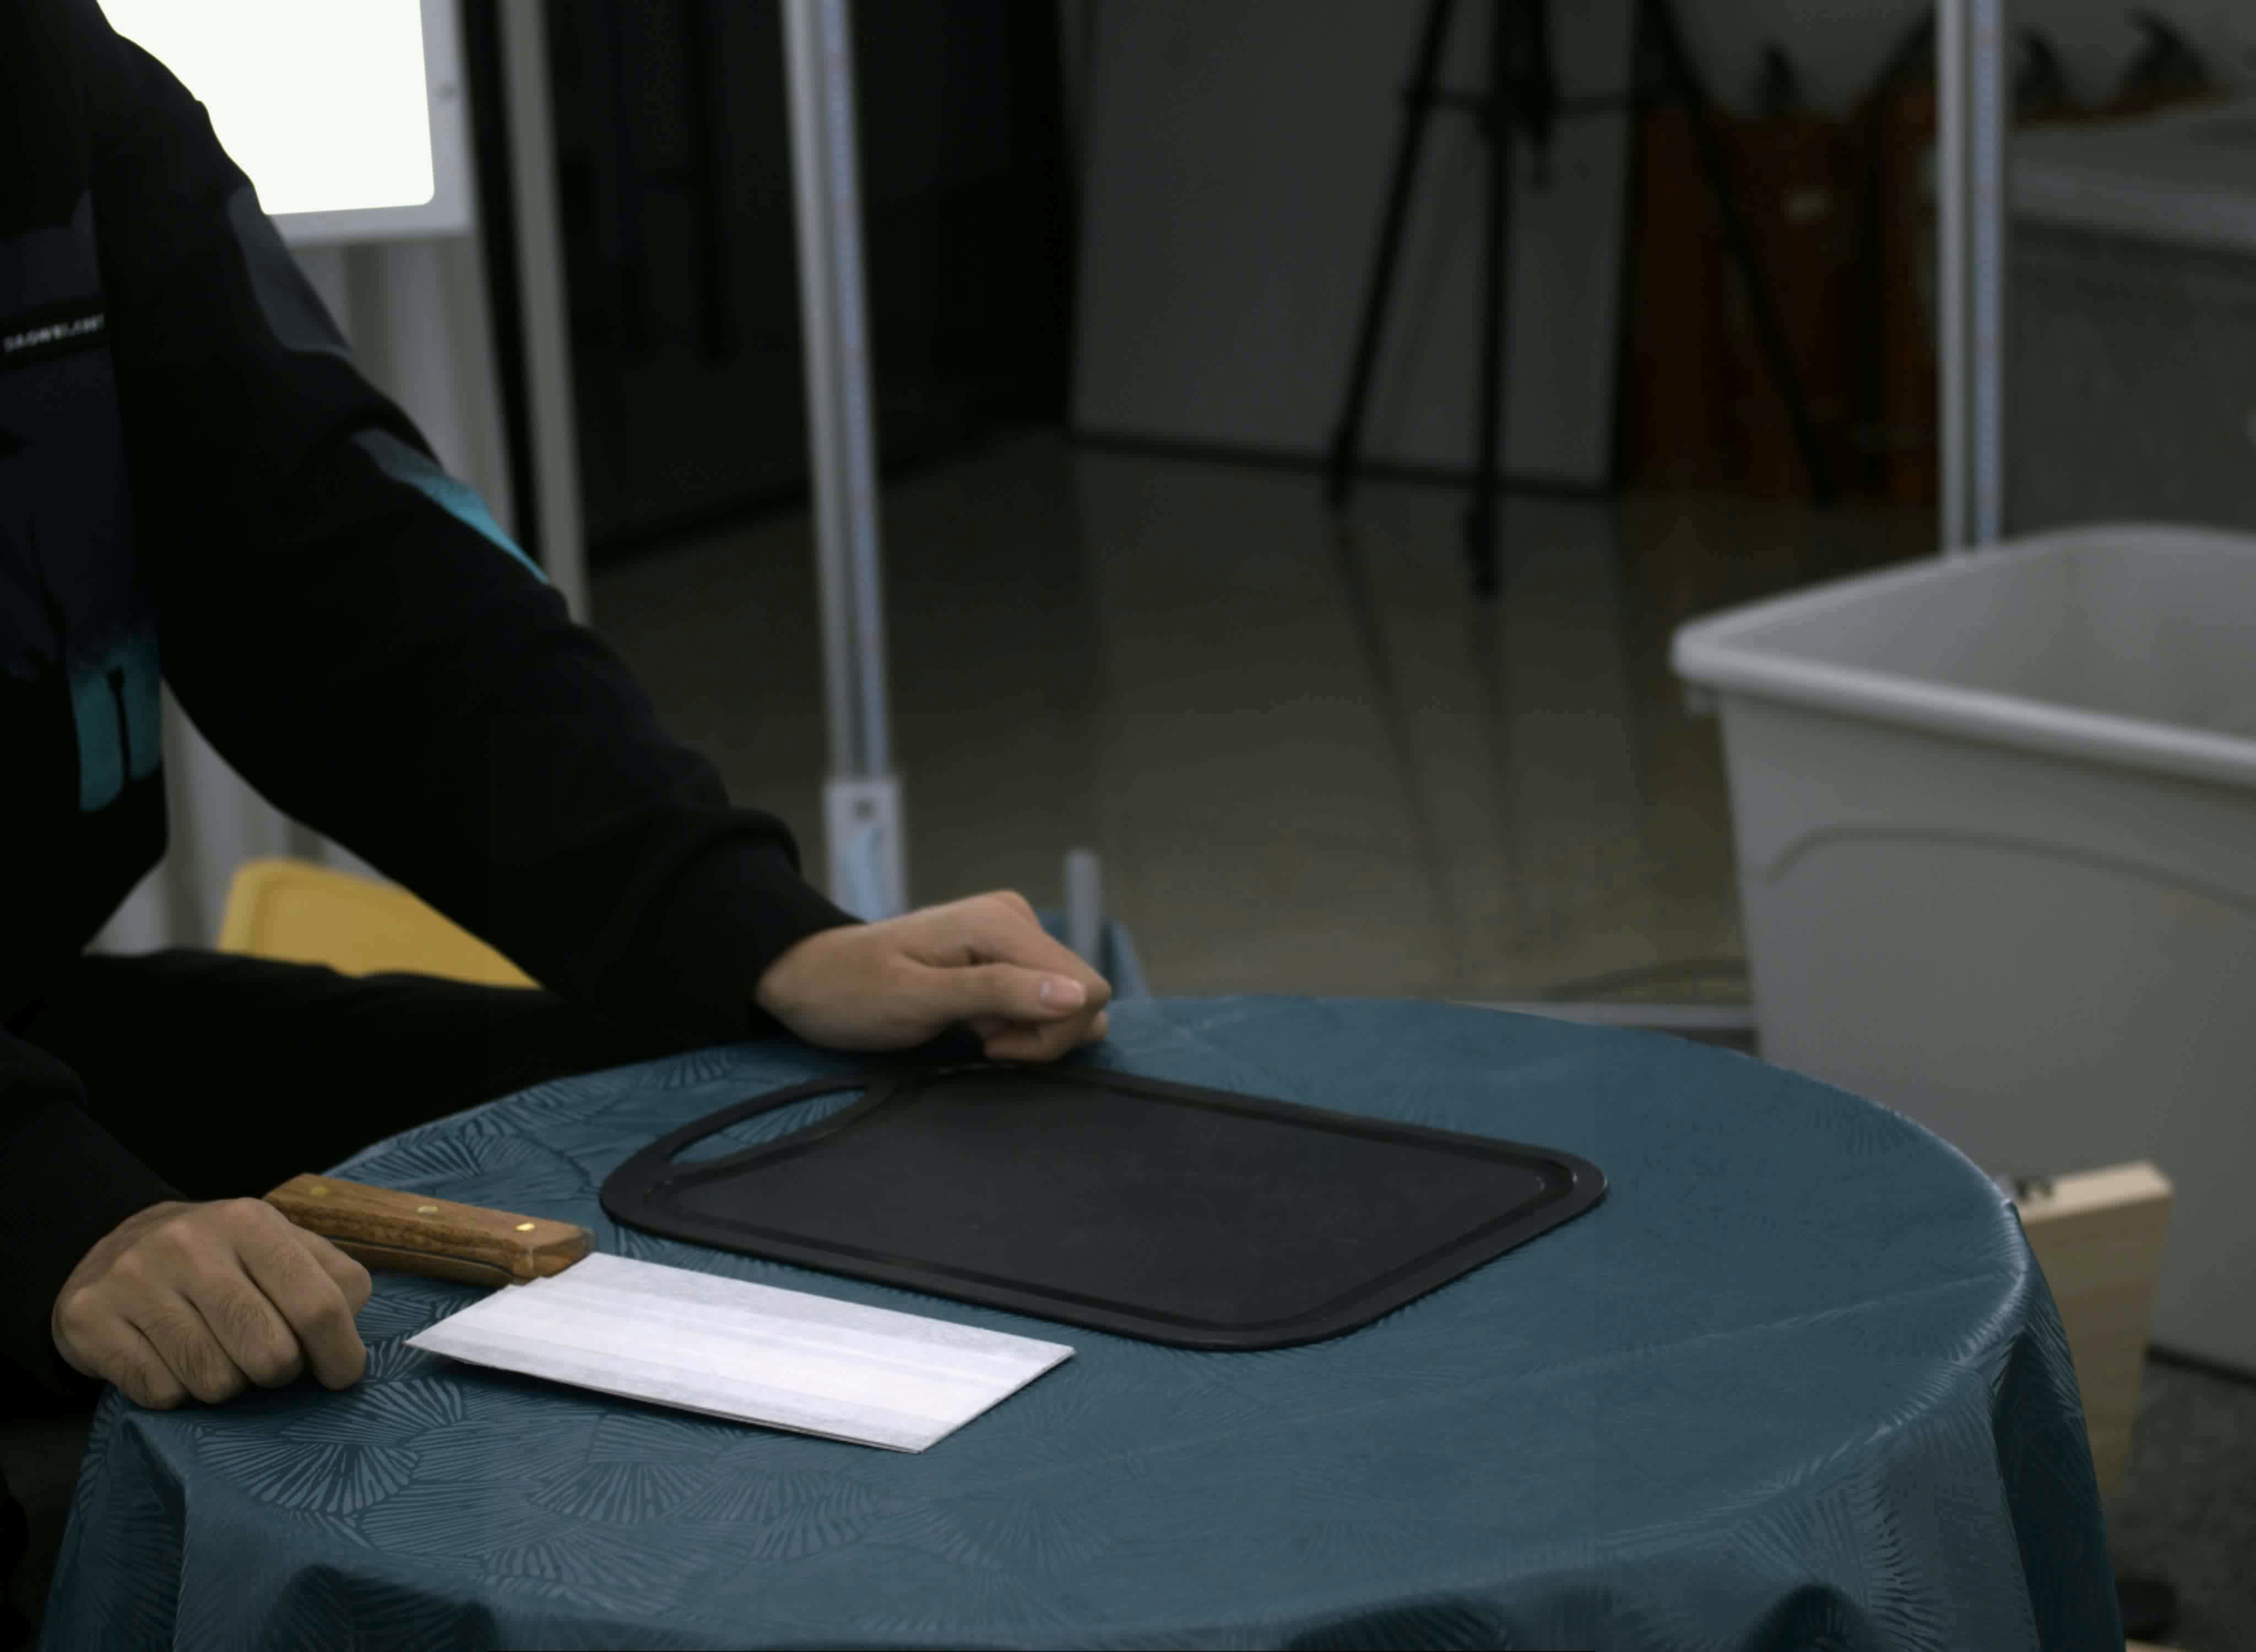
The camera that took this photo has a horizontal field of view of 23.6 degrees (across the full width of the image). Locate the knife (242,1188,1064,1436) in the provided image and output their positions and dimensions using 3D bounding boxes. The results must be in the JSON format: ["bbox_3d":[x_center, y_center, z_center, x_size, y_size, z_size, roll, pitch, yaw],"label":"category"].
[{"bbox_3d":[-0.165,0.152,1.664,0.307,0.021,0.091,7,19,32],"label":"knife"}]

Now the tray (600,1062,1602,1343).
[{"bbox_3d":[-0.018,0.118,1.773,0.328,0.010,0.207,8,18,39],"label":"tray"}]
